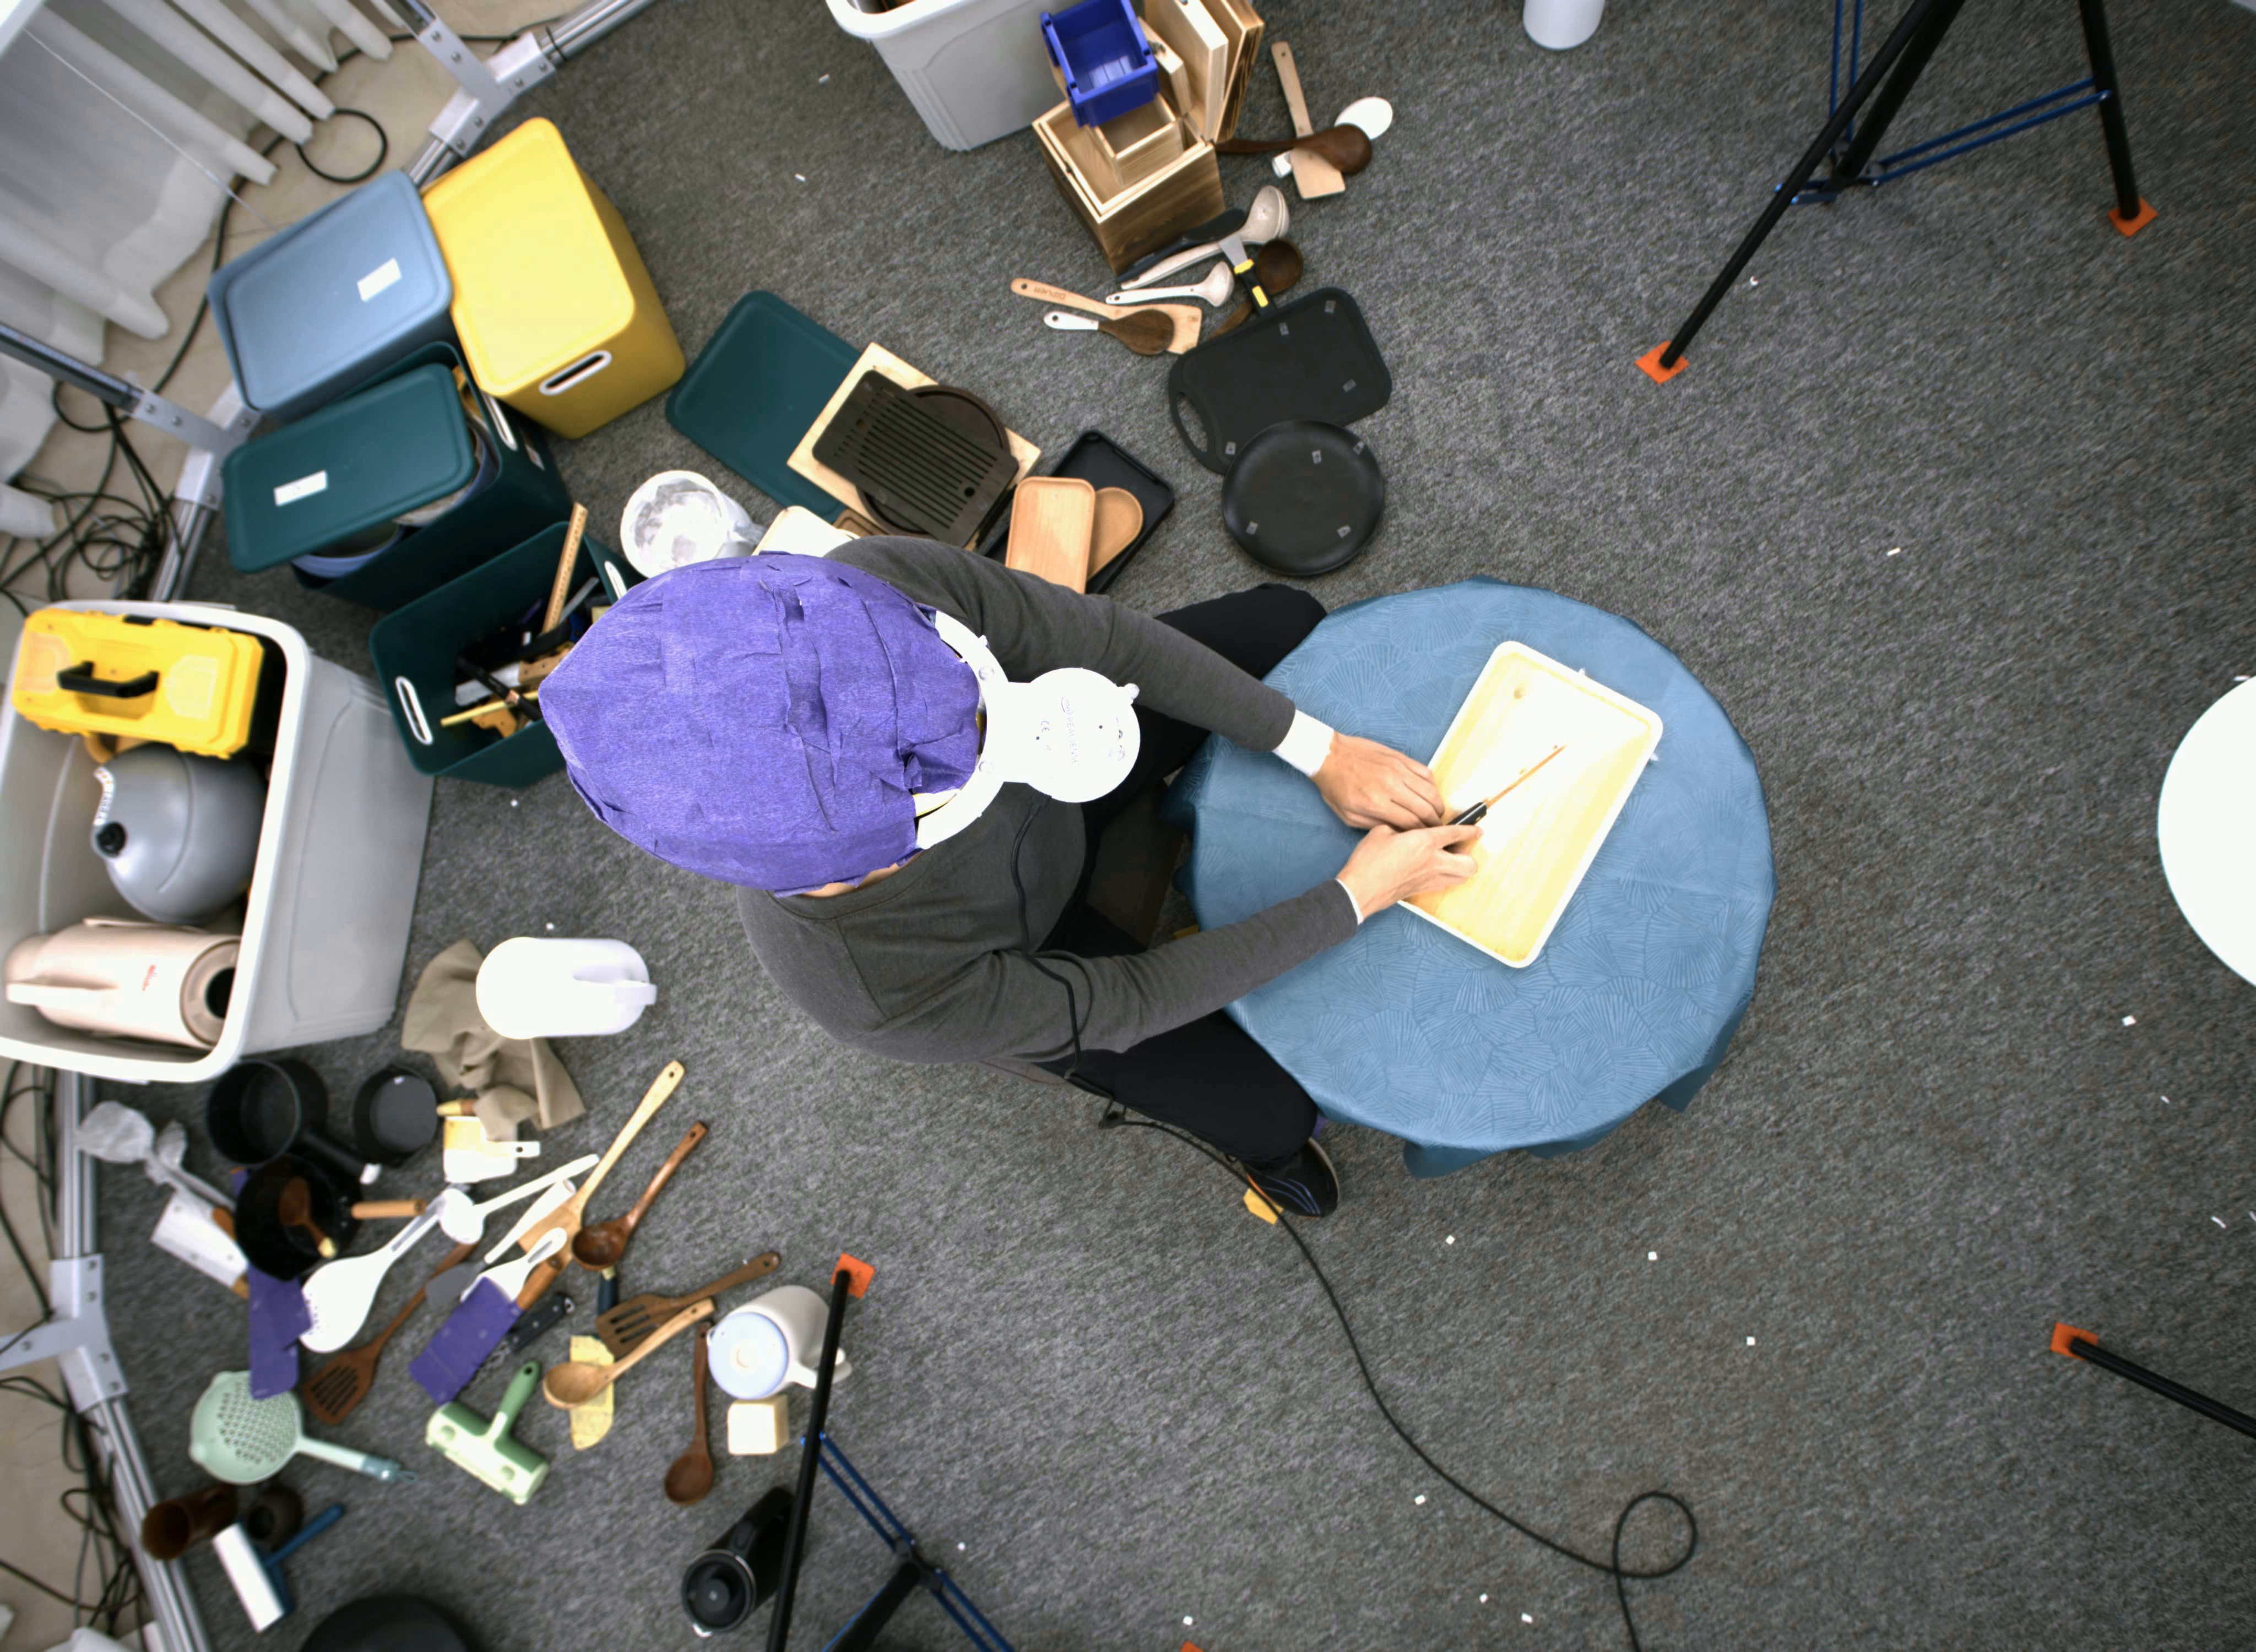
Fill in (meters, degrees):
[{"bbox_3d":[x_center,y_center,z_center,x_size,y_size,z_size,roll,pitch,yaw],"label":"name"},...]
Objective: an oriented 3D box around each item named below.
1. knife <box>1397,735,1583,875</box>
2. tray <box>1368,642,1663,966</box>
[{"bbox_3d":[0.377,-0.027,1.424,0.239,0.024,0.016,-37,69,4],"label":"knife"},{"bbox_3d":[0.400,-0.026,1.428,0.191,0.027,0.301,30,93,12],"label":"tray"}]
